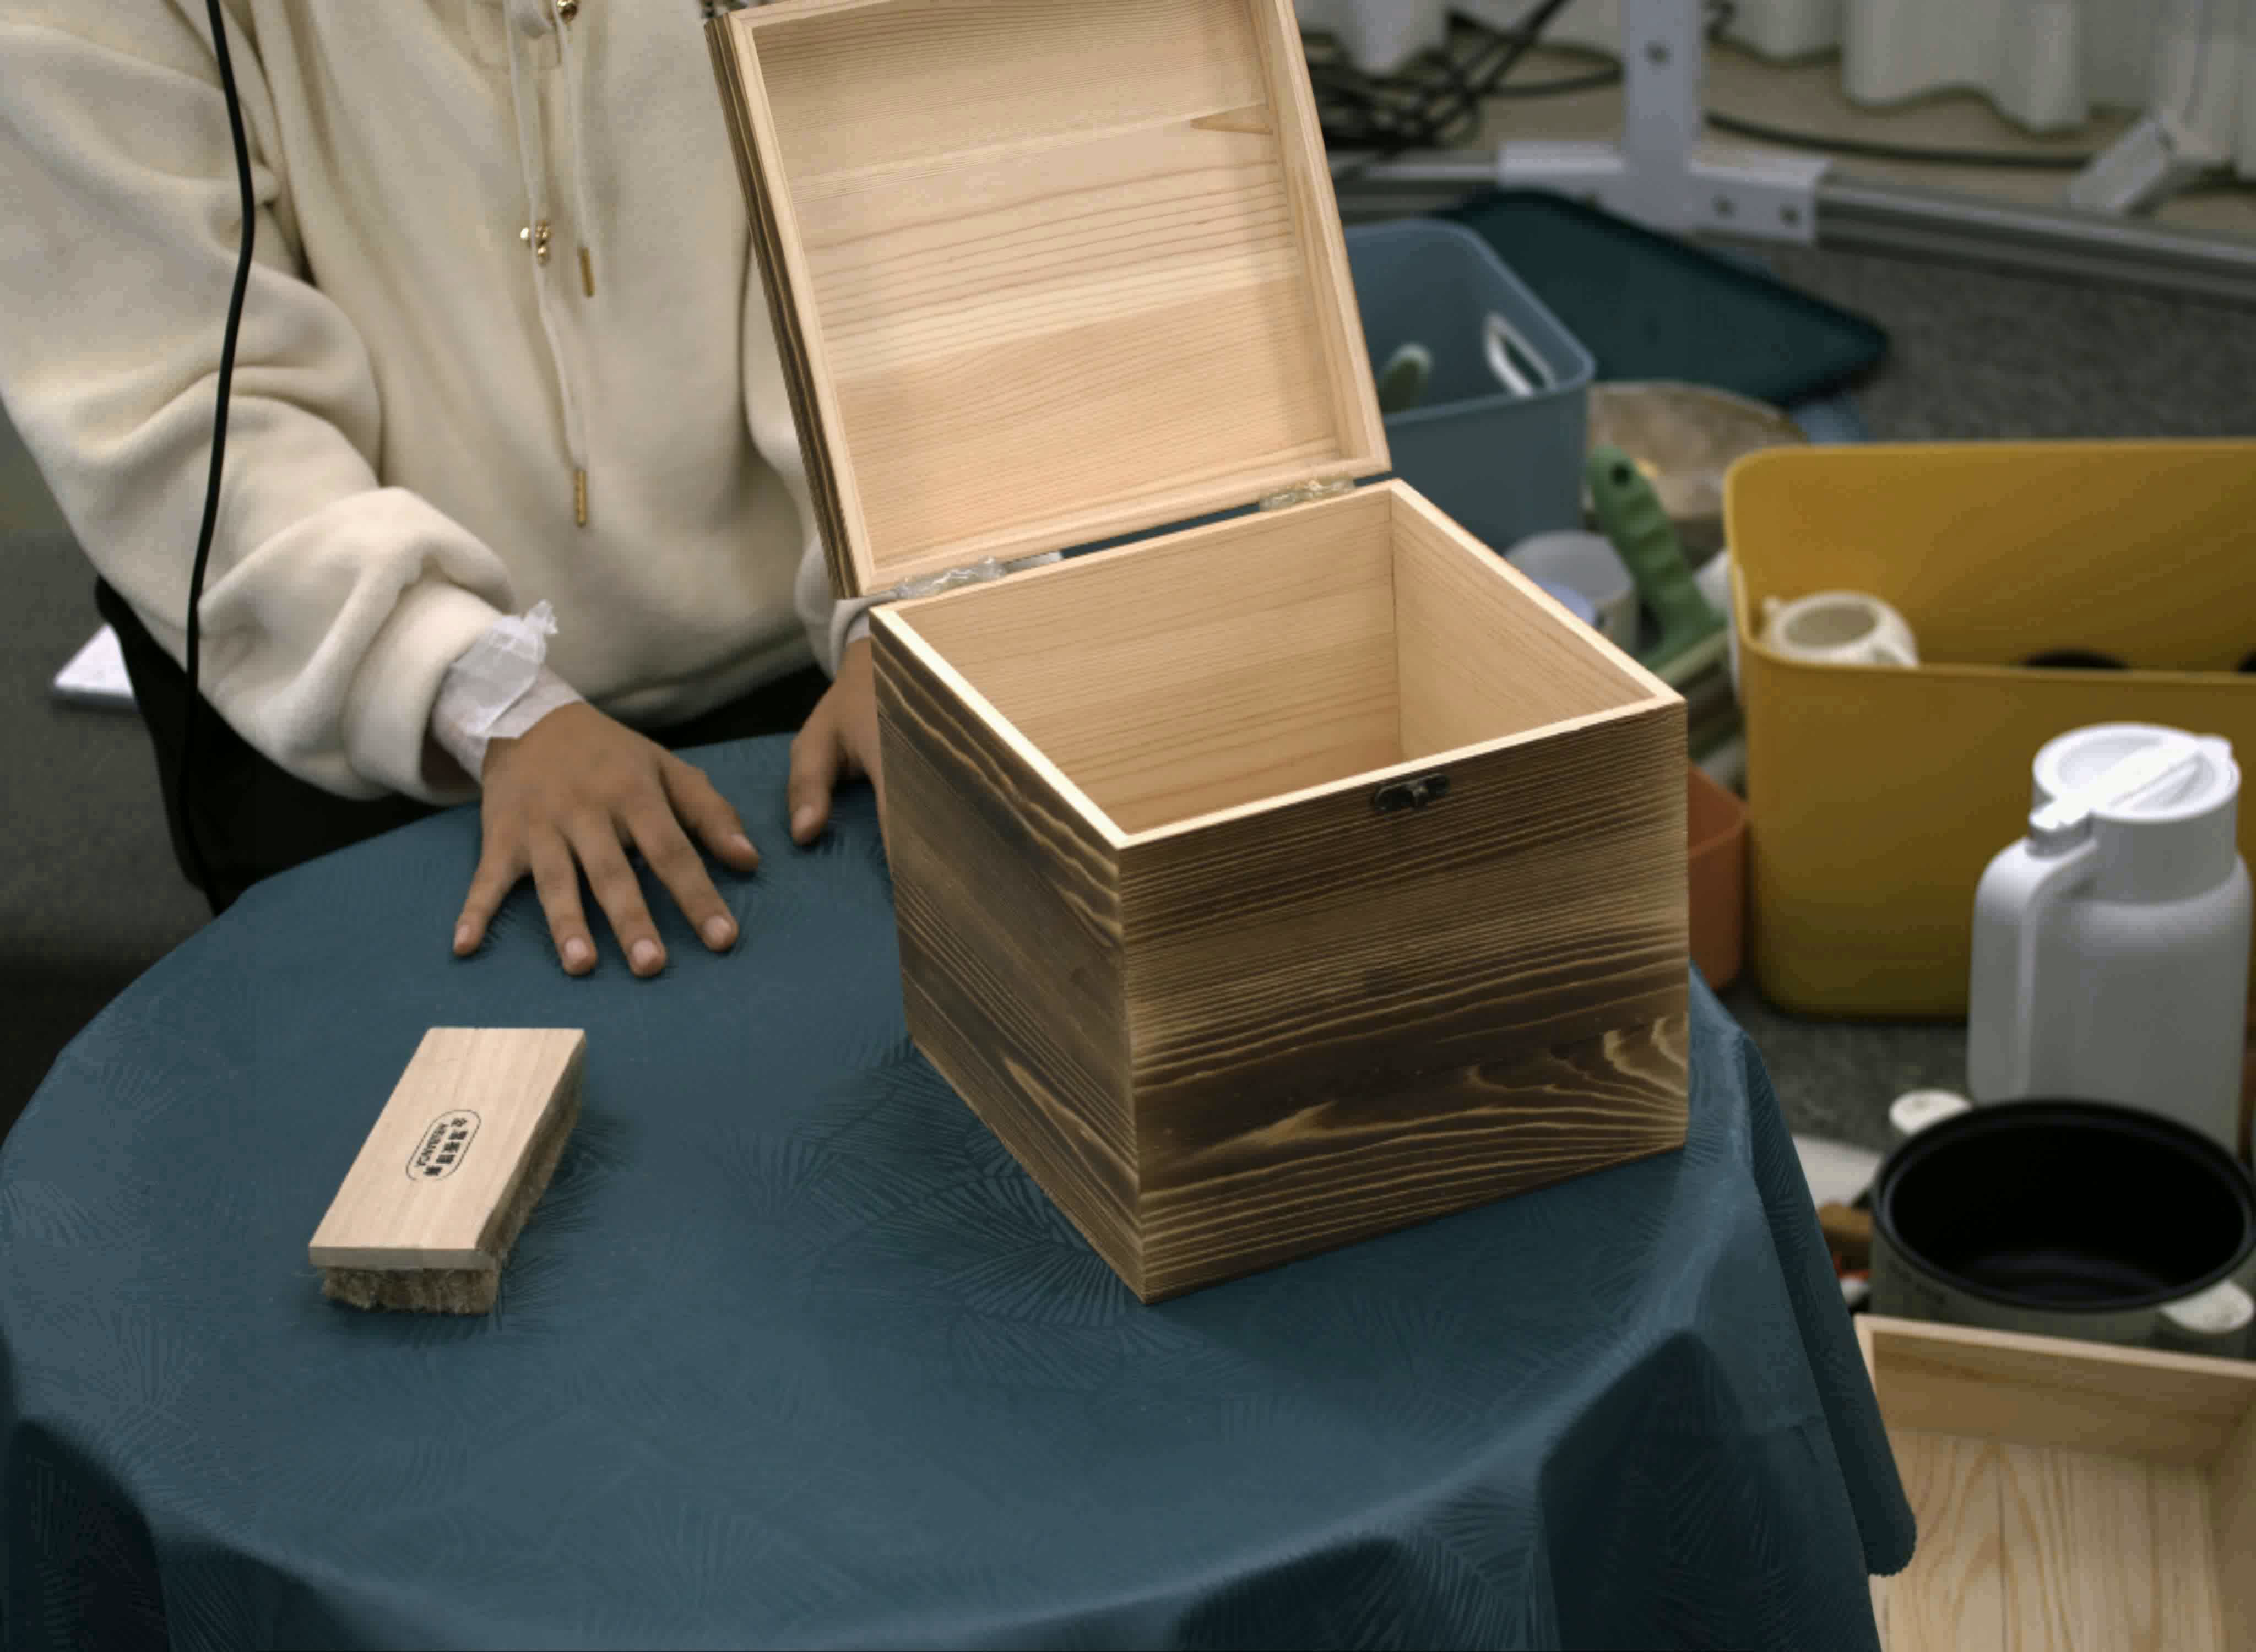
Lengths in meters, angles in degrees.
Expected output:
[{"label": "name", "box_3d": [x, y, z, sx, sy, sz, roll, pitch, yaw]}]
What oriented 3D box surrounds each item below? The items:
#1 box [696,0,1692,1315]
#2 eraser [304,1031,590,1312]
[{"label": "box", "box_3d": [0.021, -0.090, 1.877, 0.209, 0.371, 0.324, -15, 29, -21]}, {"label": "eraser", "box_3d": [-0.224, 0.114, 1.867, 0.056, 0.029, 0.141, 1, 27, 12]}]
